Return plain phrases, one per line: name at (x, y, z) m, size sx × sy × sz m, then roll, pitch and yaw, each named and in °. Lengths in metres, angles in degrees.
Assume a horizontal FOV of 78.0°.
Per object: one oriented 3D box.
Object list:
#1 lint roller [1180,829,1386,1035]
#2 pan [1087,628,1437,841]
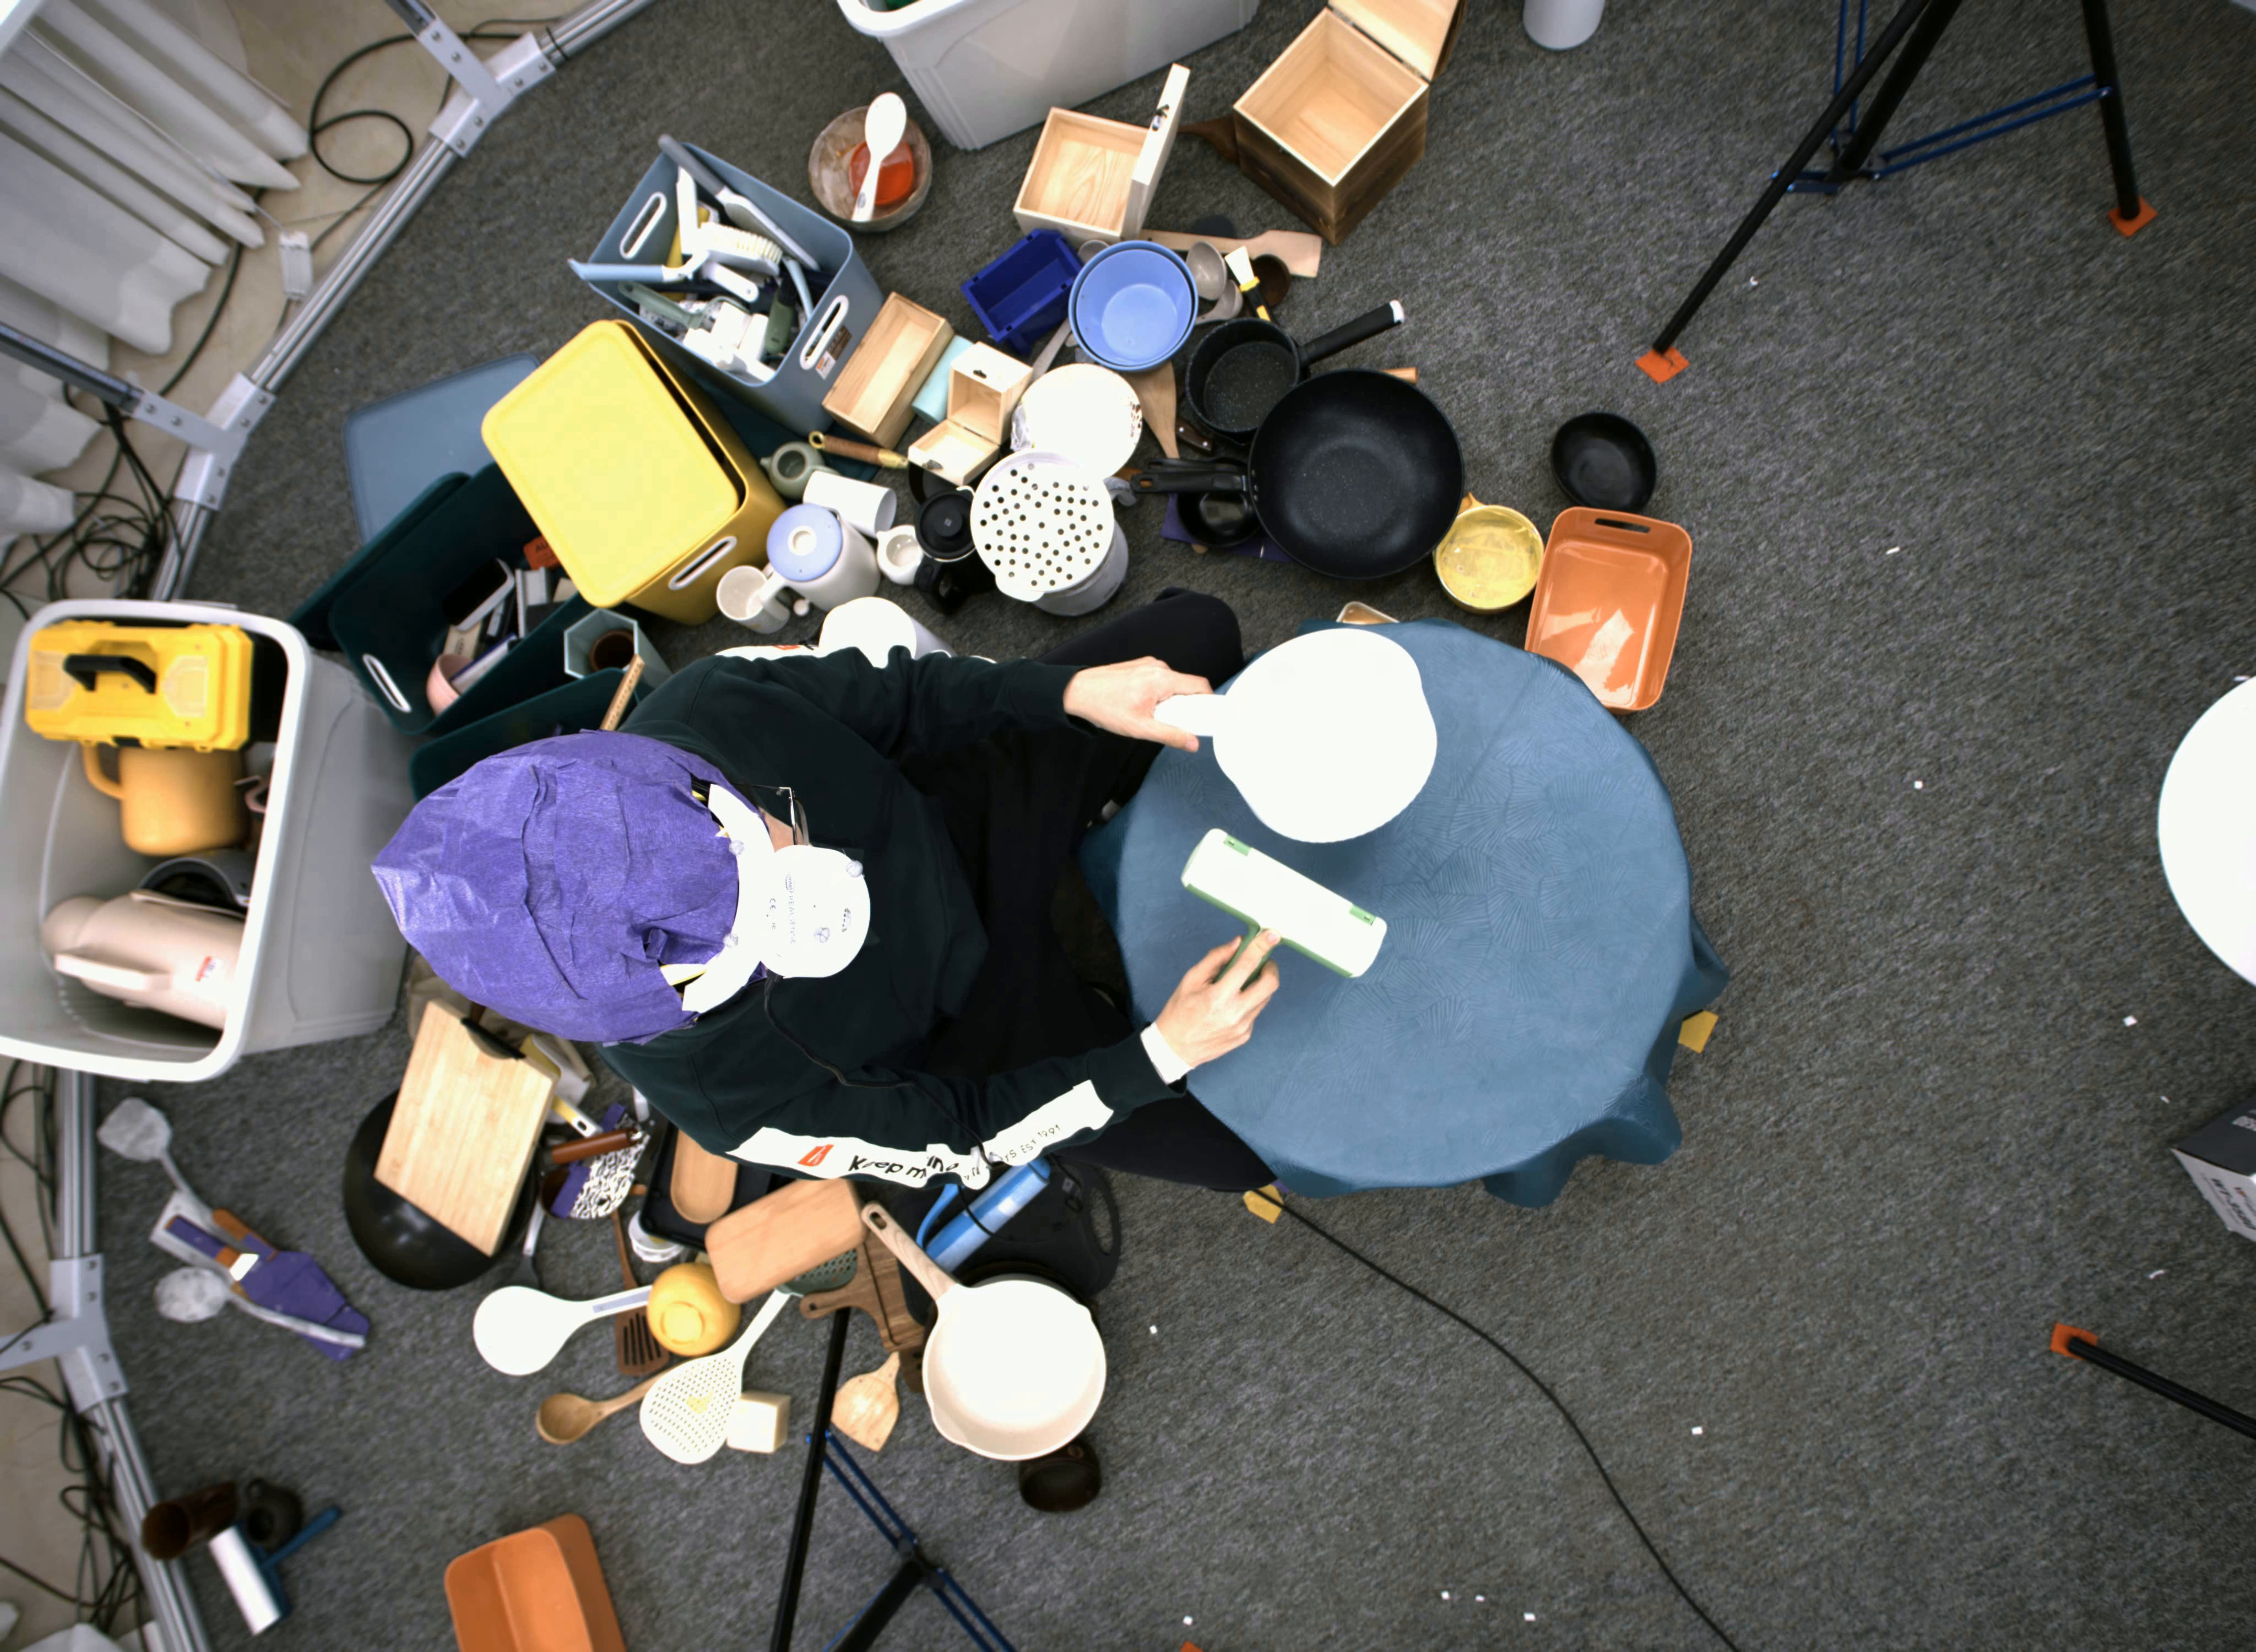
lint roller at (0.118, 0.126, 1.317) m, size 0.199 × 0.081 × 0.184 m, roll 30°, pitch 96°, yaw -2°
pan at (0.127, -0.089, 1.343) m, size 0.356 × 0.104 × 0.197 m, roll 6°, pitch 59°, yaw 35°
